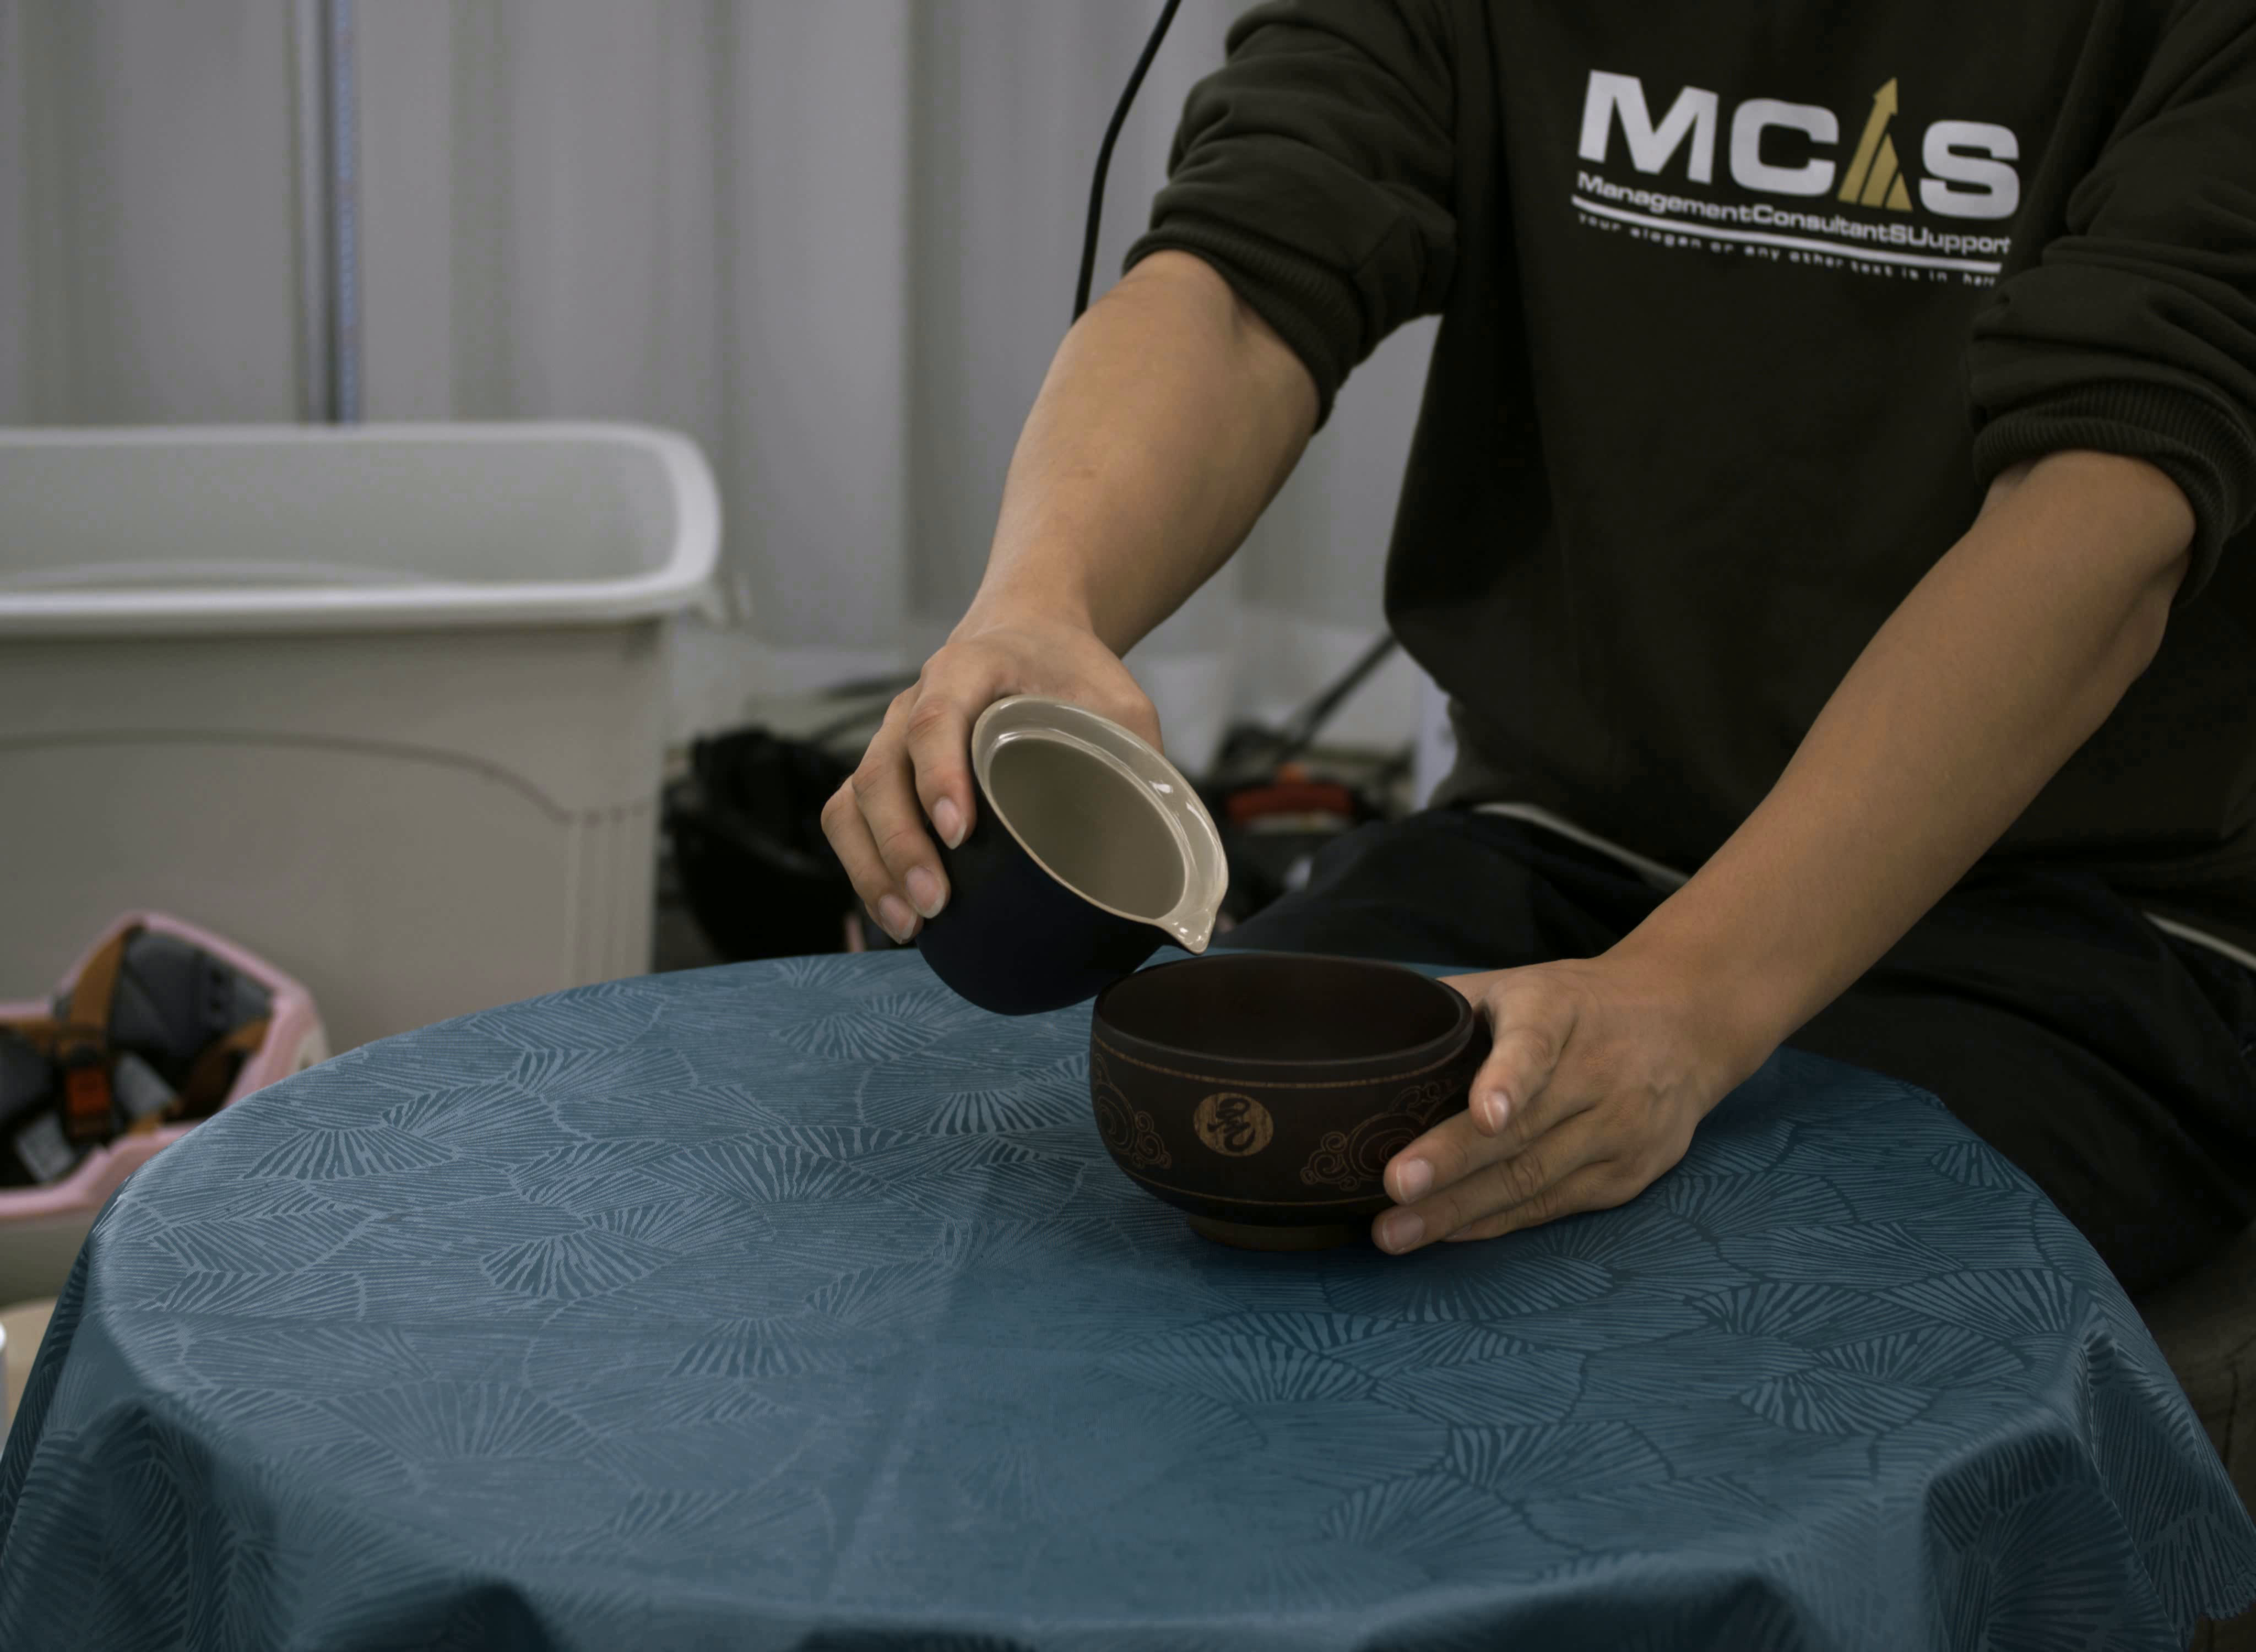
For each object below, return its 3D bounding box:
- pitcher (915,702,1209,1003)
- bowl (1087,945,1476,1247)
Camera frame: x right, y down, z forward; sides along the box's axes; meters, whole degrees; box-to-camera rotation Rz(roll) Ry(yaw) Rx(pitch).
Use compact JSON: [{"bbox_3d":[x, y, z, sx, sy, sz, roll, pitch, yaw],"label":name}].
[{"bbox_3d":[-0.023,0.017,1.626,0.084,0.071,0.095,-3,53,-51],"label":"pitcher"},{"bbox_3d":[0.047,0.086,1.597,0.117,0.070,0.117,-1,17,1],"label":"bowl"}]
